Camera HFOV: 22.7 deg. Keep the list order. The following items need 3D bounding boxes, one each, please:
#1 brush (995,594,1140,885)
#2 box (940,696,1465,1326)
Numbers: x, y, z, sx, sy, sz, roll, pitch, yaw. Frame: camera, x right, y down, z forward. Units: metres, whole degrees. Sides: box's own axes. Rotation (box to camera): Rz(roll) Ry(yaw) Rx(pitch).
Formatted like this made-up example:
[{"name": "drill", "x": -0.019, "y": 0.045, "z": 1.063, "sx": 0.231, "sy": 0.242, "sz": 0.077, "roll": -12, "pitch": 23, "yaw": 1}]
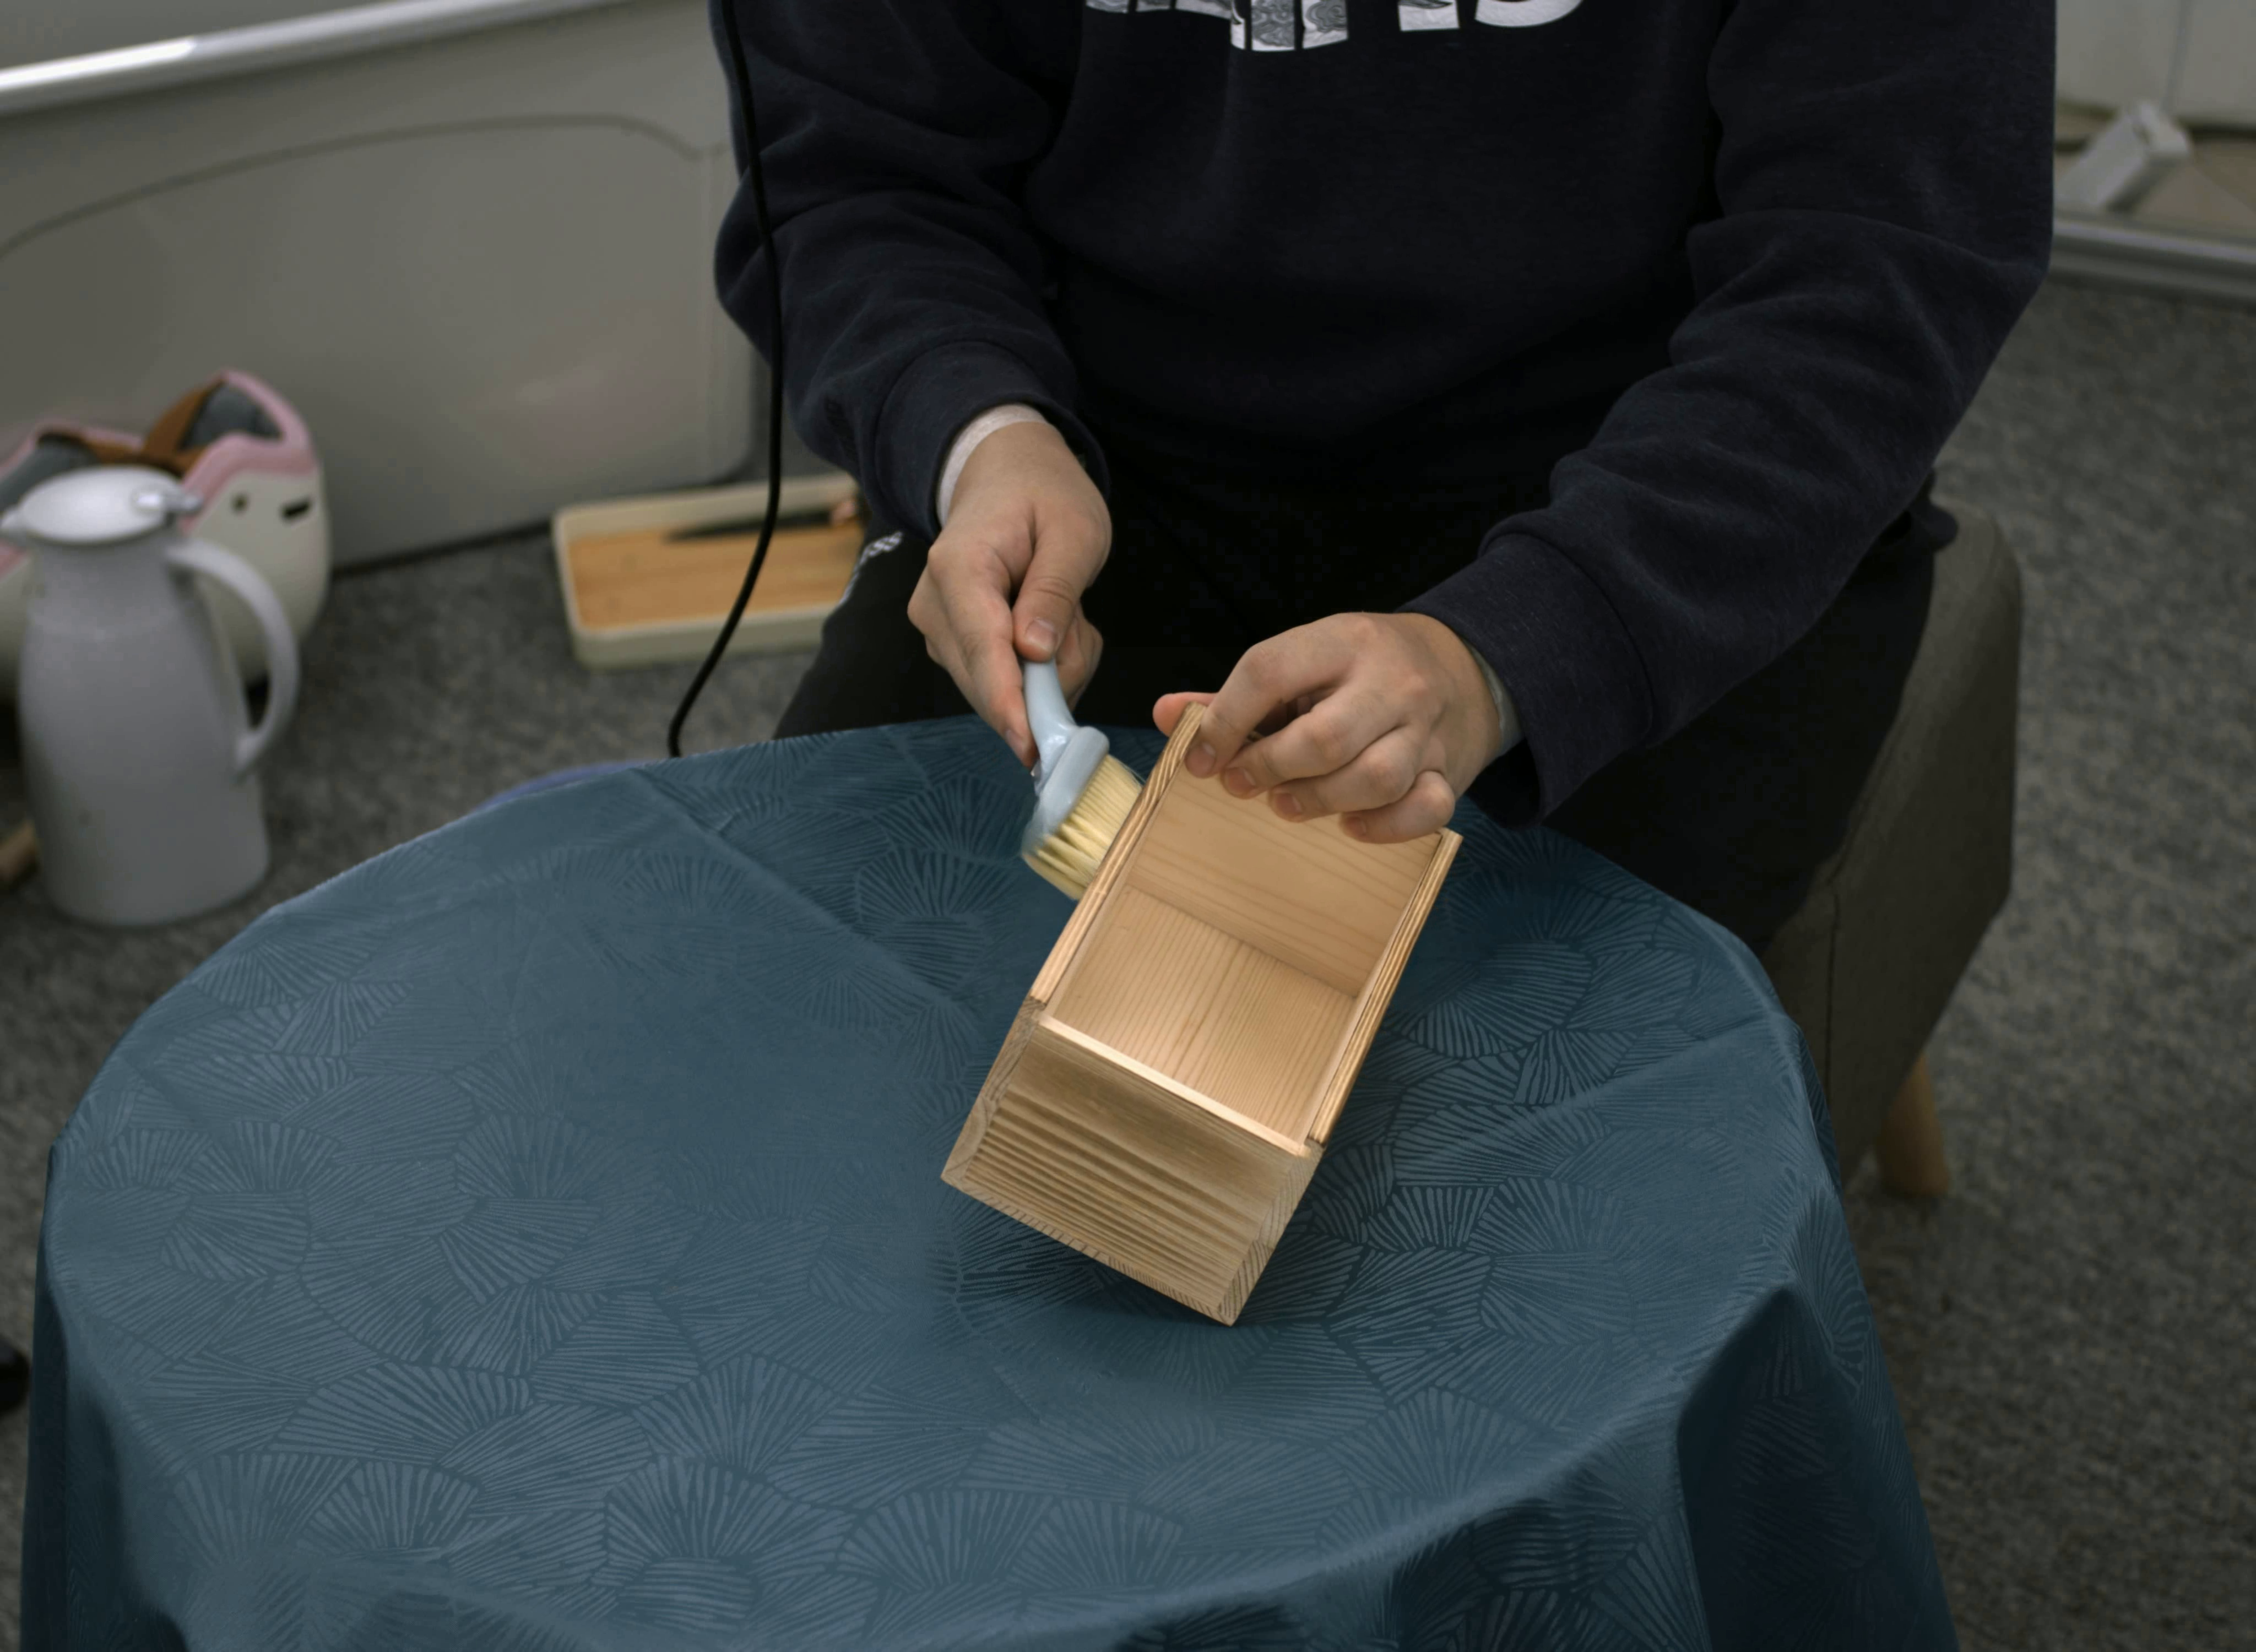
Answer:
[{"name": "brush", "x": -0.024, "y": -0.033, "z": 1.993, "sx": 0.049, "sy": 0.037, "sz": 0.231, "roll": 23, "pitch": 19, "yaw": -12}, {"name": "box", "x": 0.028, "y": 0.057, "z": 1.861, "sx": 0.107, "sy": 0.079, "sz": 0.215, "roll": 27, "pitch": 32, "yaw": 1}]
